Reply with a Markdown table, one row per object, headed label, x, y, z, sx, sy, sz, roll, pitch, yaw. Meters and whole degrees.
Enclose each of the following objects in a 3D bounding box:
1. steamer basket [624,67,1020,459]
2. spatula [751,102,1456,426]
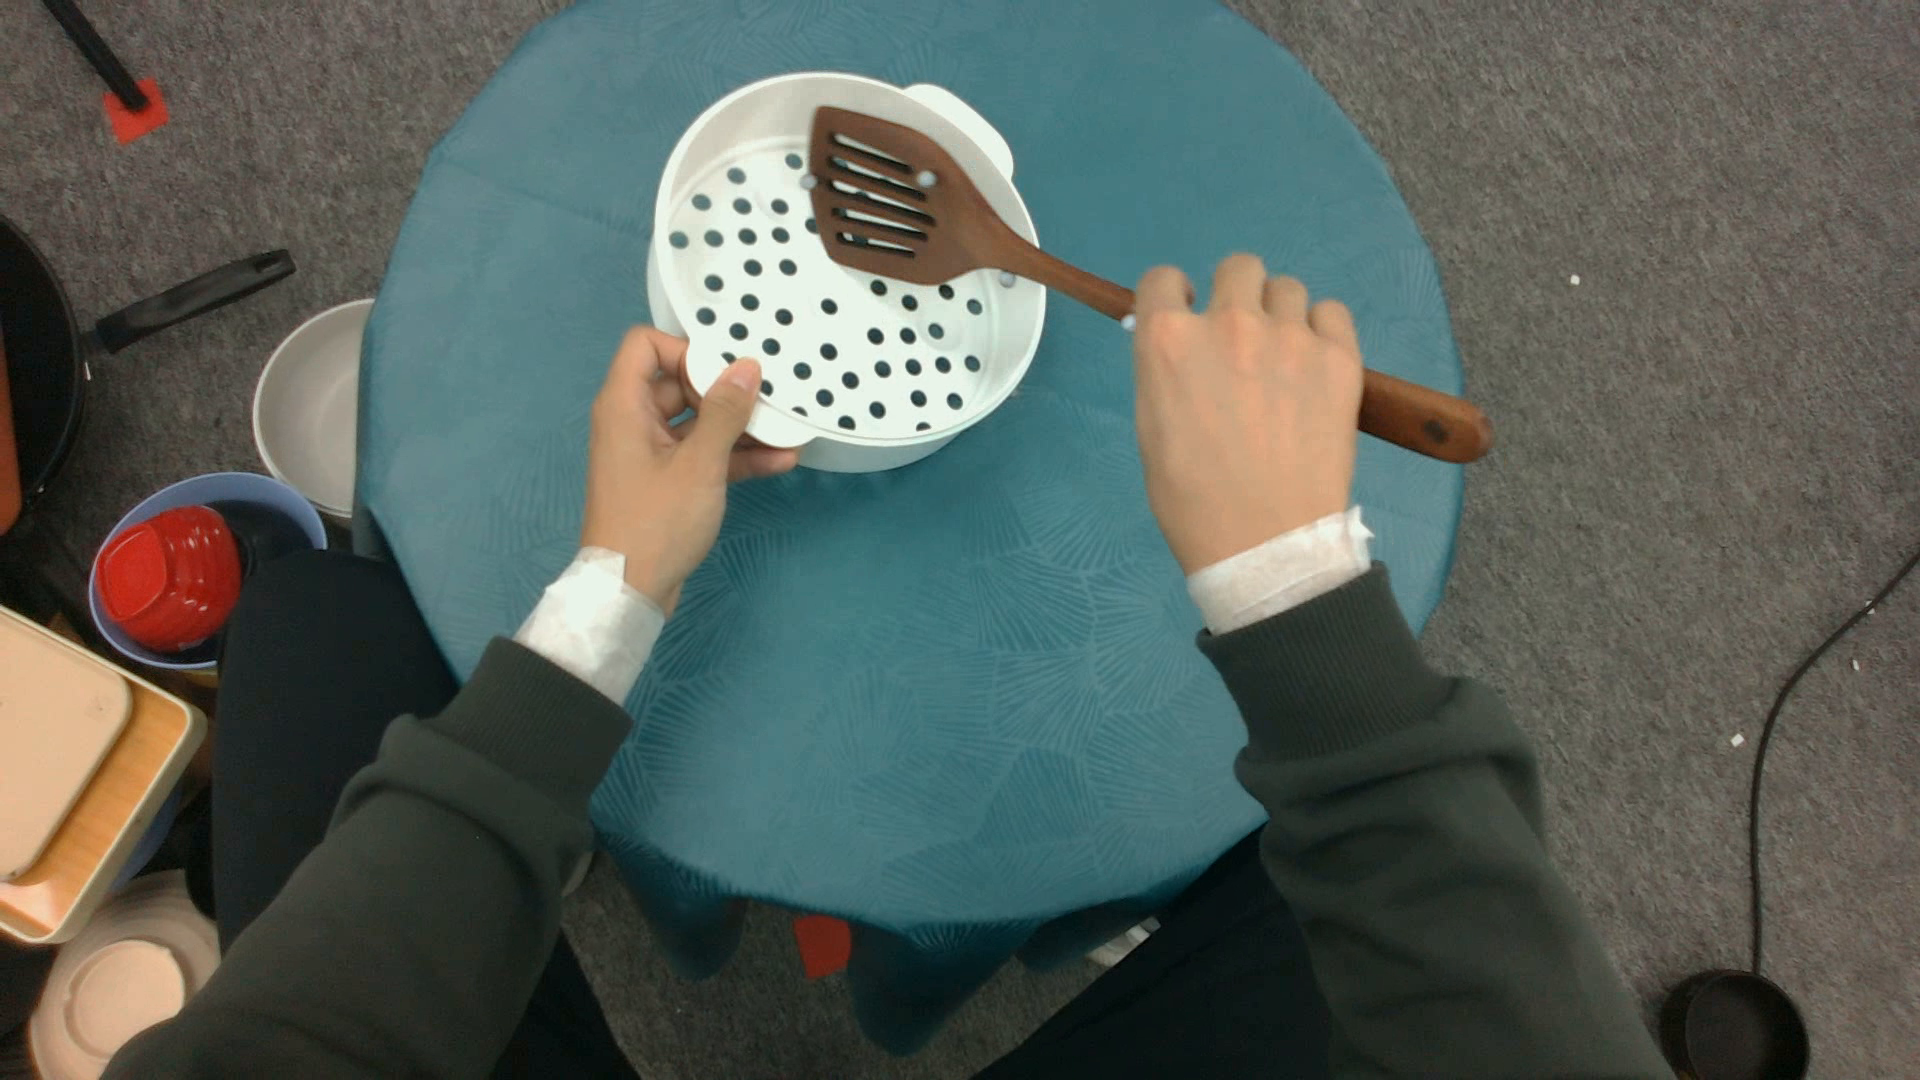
| label | x | y | z | sx | sy | sz | roll | pitch | yaw |
| --- | --- | --- | --- | --- | --- | --- | --- | --- | --- |
| steamer basket | -0.073 | -0.140 | 0.713 | 0.202 | 0.069 | 0.231 | 35 | 66 | -6 |
| spatula | 0.039 | -0.122 | 0.602 | 0.024 | 0.085 | 0.385 | -38 | 47 | -27 |
